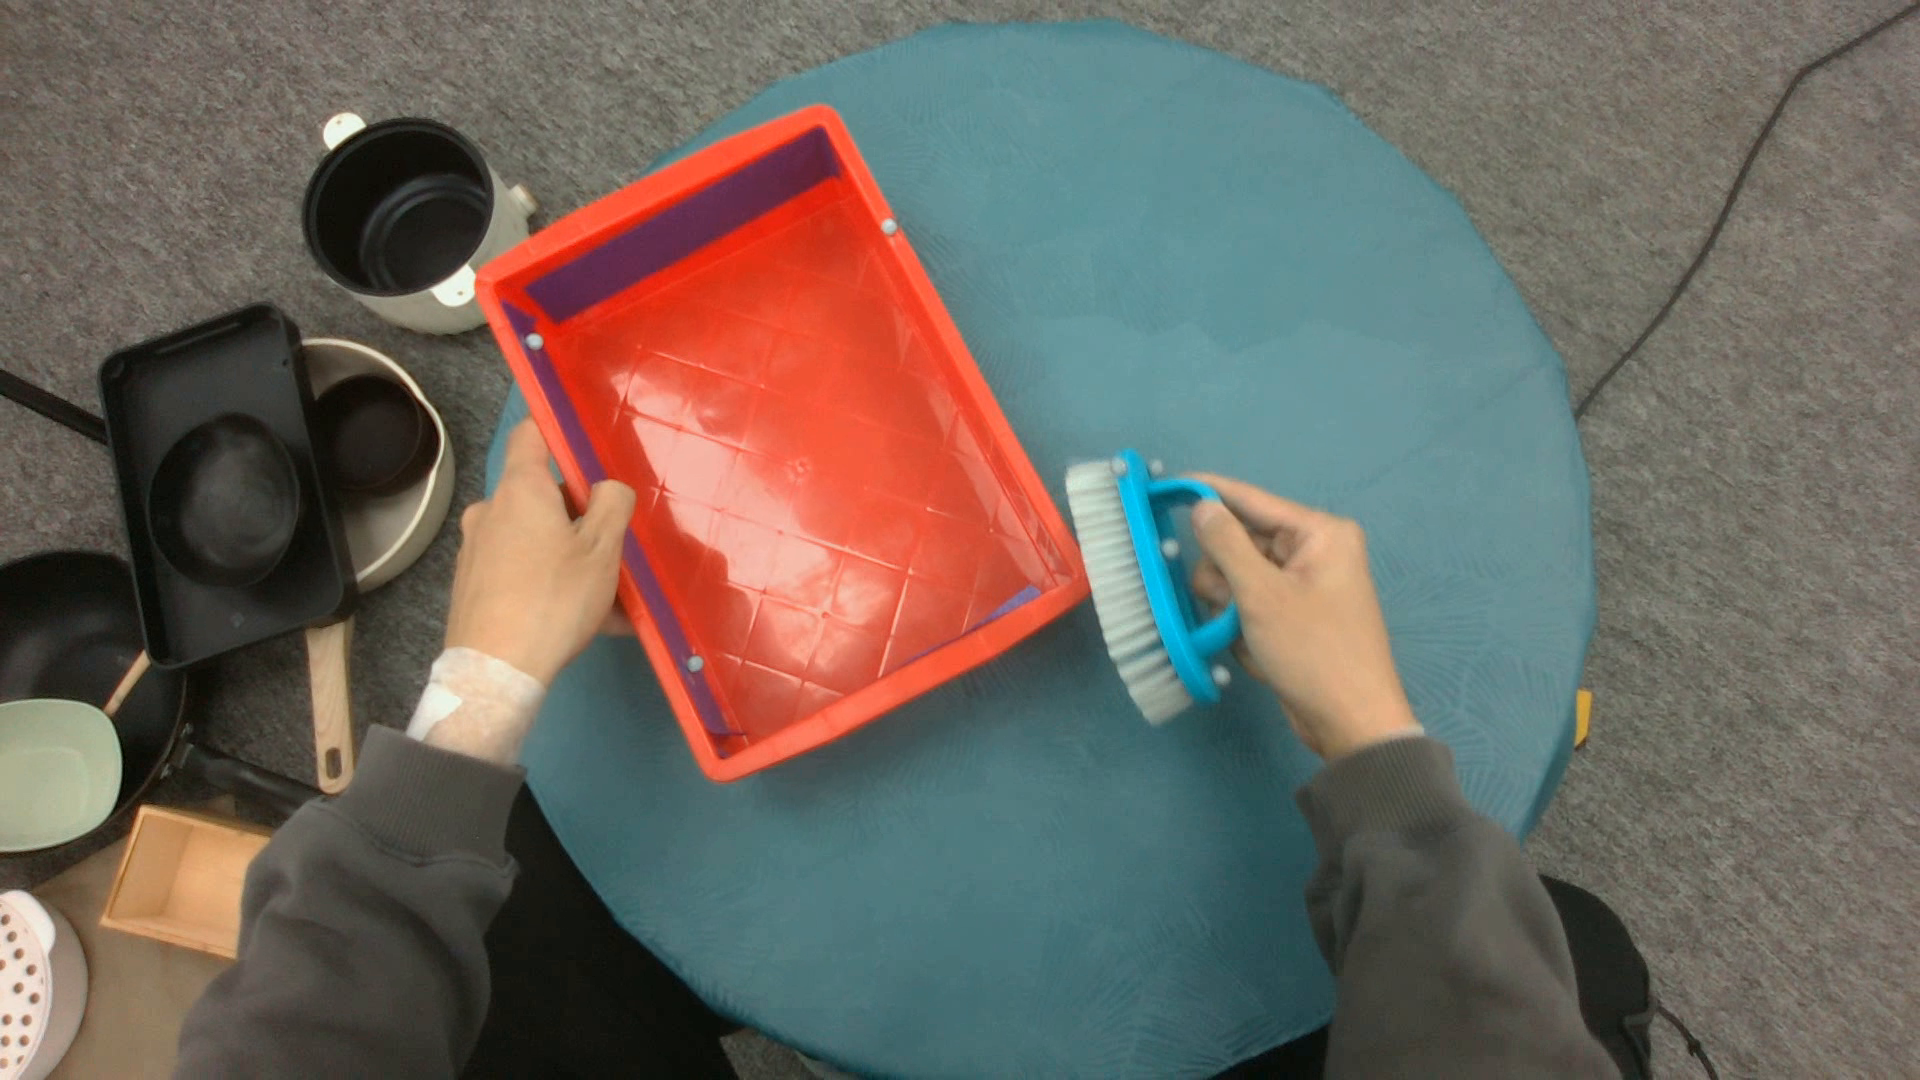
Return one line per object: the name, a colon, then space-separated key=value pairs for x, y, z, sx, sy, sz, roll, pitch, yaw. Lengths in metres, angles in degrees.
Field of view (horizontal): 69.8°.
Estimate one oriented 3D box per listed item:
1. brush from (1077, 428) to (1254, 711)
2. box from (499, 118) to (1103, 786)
brush: x=0.103 y=0.009 z=0.657 sx=0.063 sy=0.084 sz=0.142 roll=-20 pitch=53 yaw=15
box: x=-0.082 y=-0.043 z=0.728 sx=0.206 sy=0.096 sz=0.304 roll=-27 pitch=76 yaw=-3
